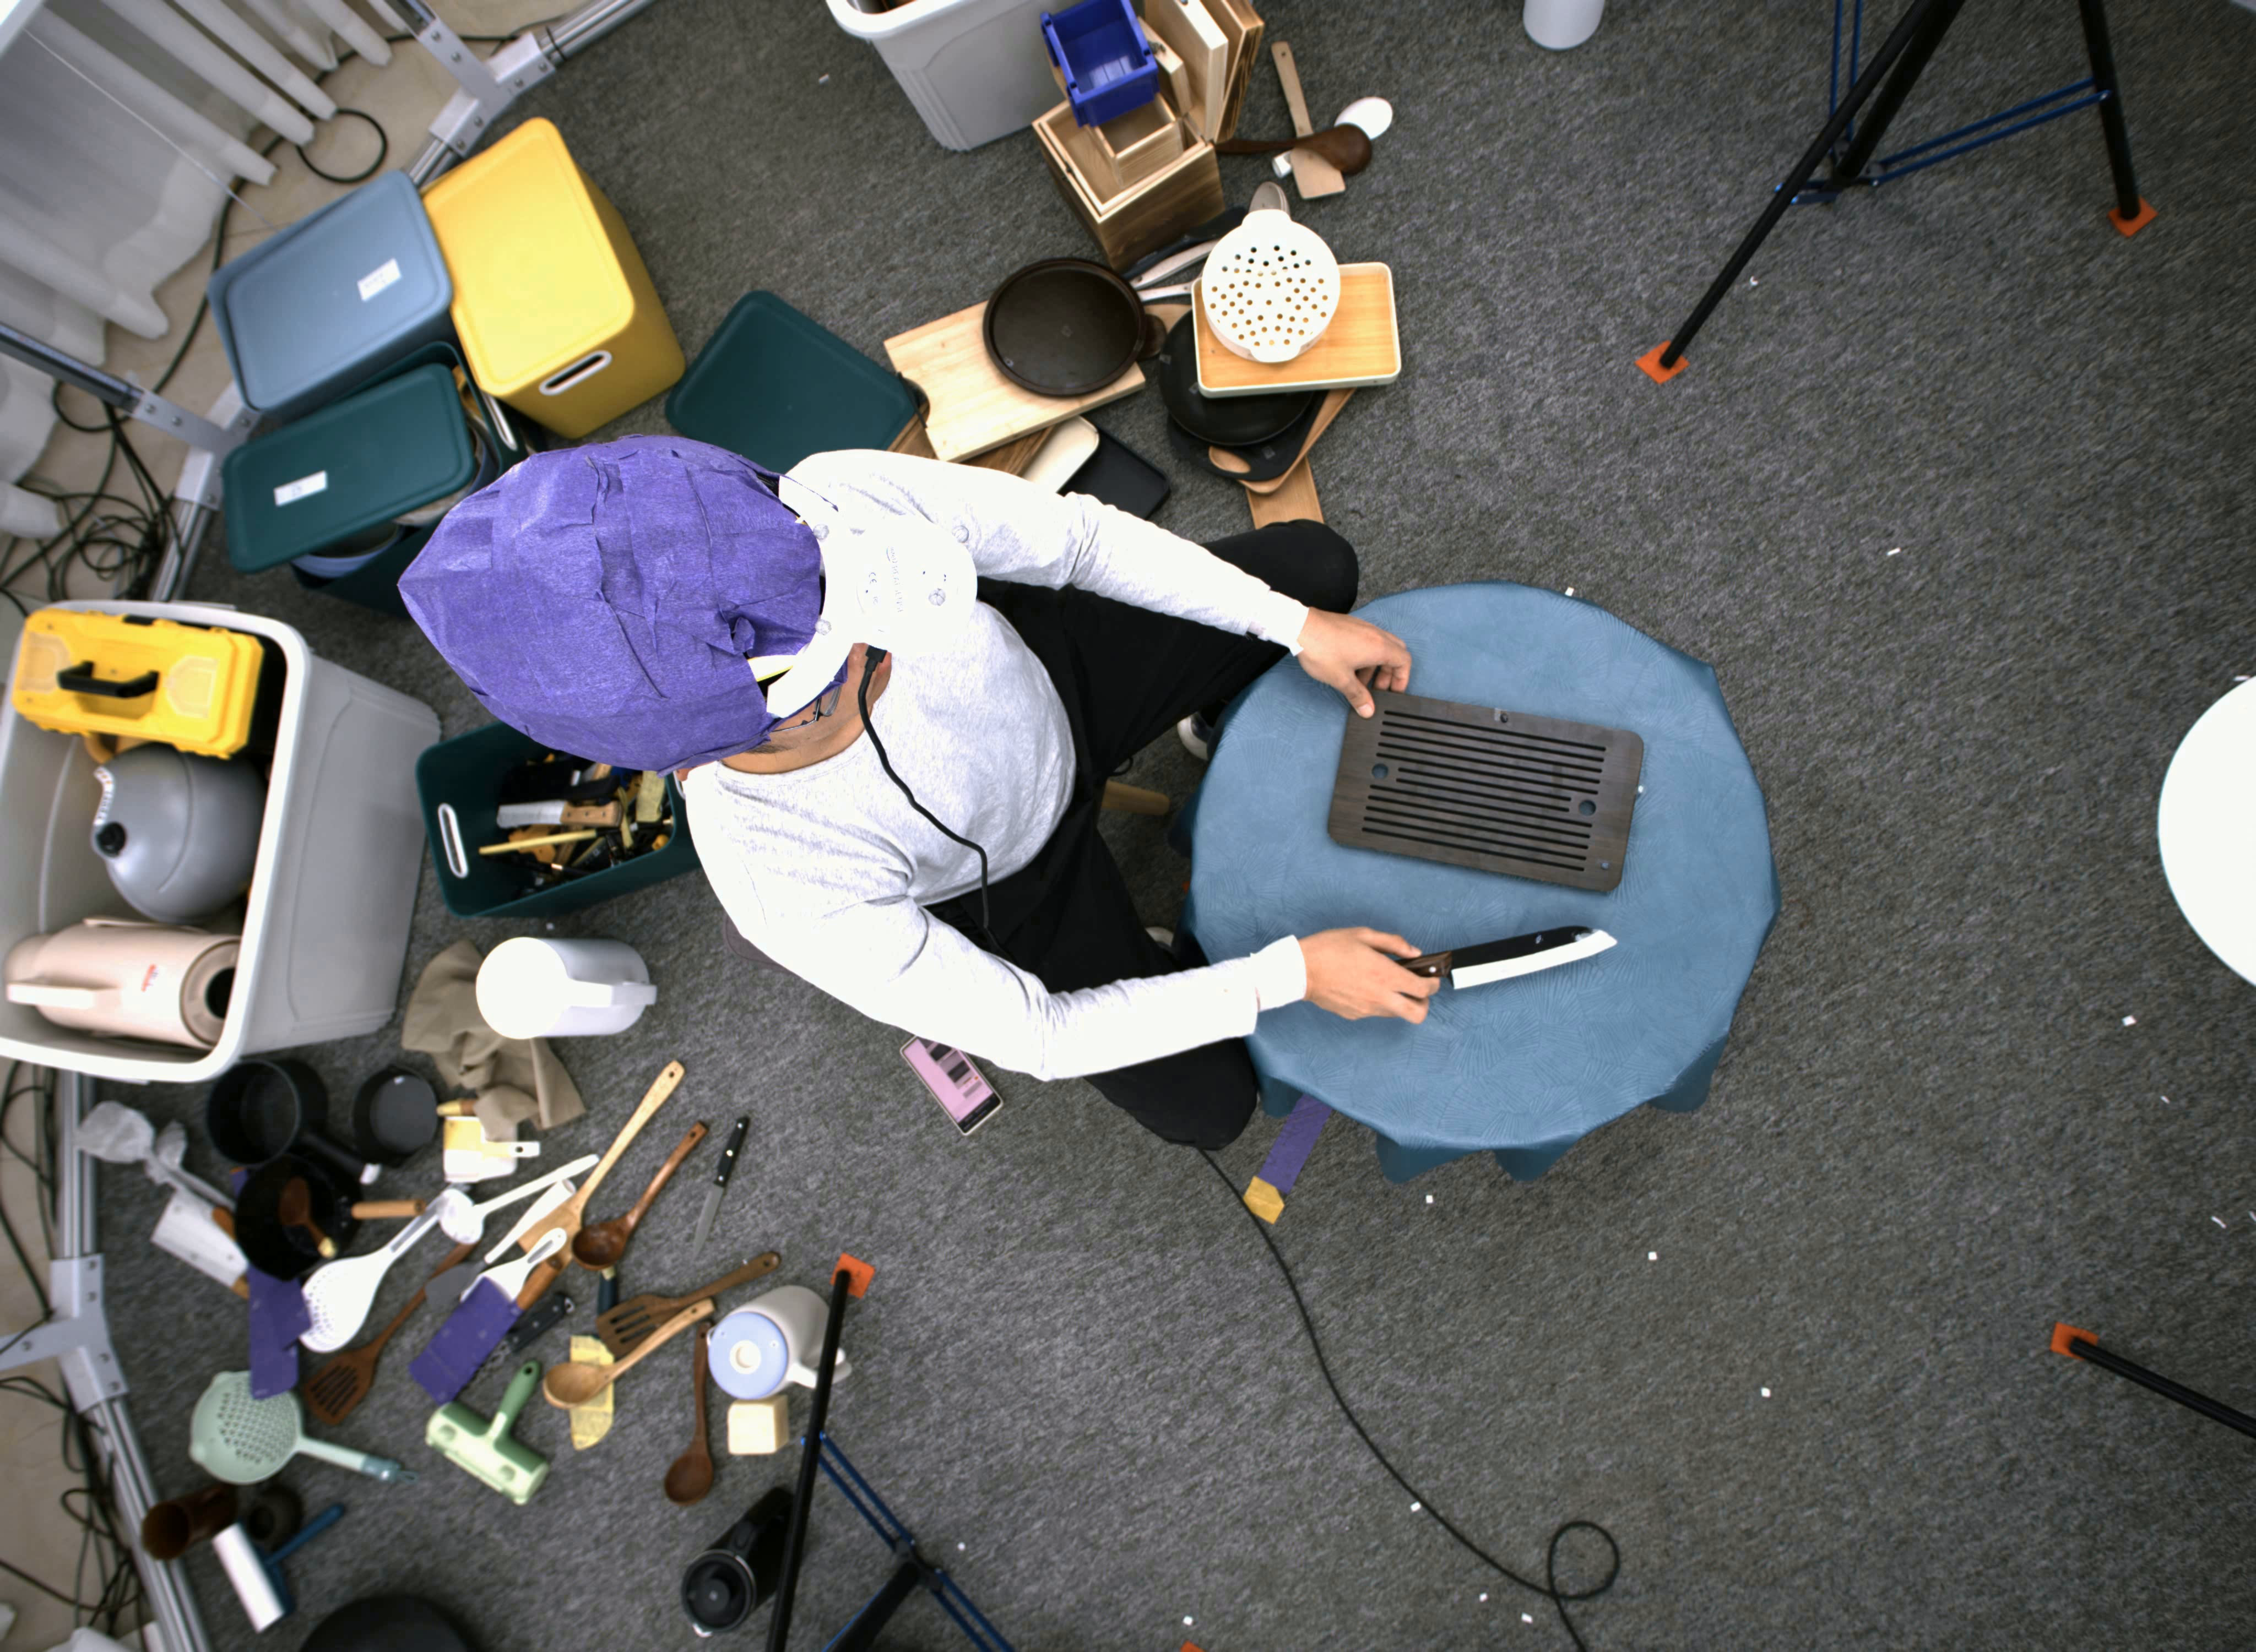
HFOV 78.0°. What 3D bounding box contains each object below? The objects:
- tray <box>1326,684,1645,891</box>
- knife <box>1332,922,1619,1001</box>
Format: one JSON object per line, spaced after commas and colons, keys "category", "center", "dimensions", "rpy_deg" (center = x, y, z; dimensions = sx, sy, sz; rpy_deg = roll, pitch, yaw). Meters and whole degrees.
{"category": "tray", "center": [0.372, -0.044, 1.438], "dimensions": [0.306, 0.018, 0.170], "rpy_deg": [11, 89, 12]}
{"category": "knife", "center": [0.350, 0.136, 1.393], "dimensions": [0.291, 0.019, 0.051], "rpy_deg": [-13, 117, 11]}
